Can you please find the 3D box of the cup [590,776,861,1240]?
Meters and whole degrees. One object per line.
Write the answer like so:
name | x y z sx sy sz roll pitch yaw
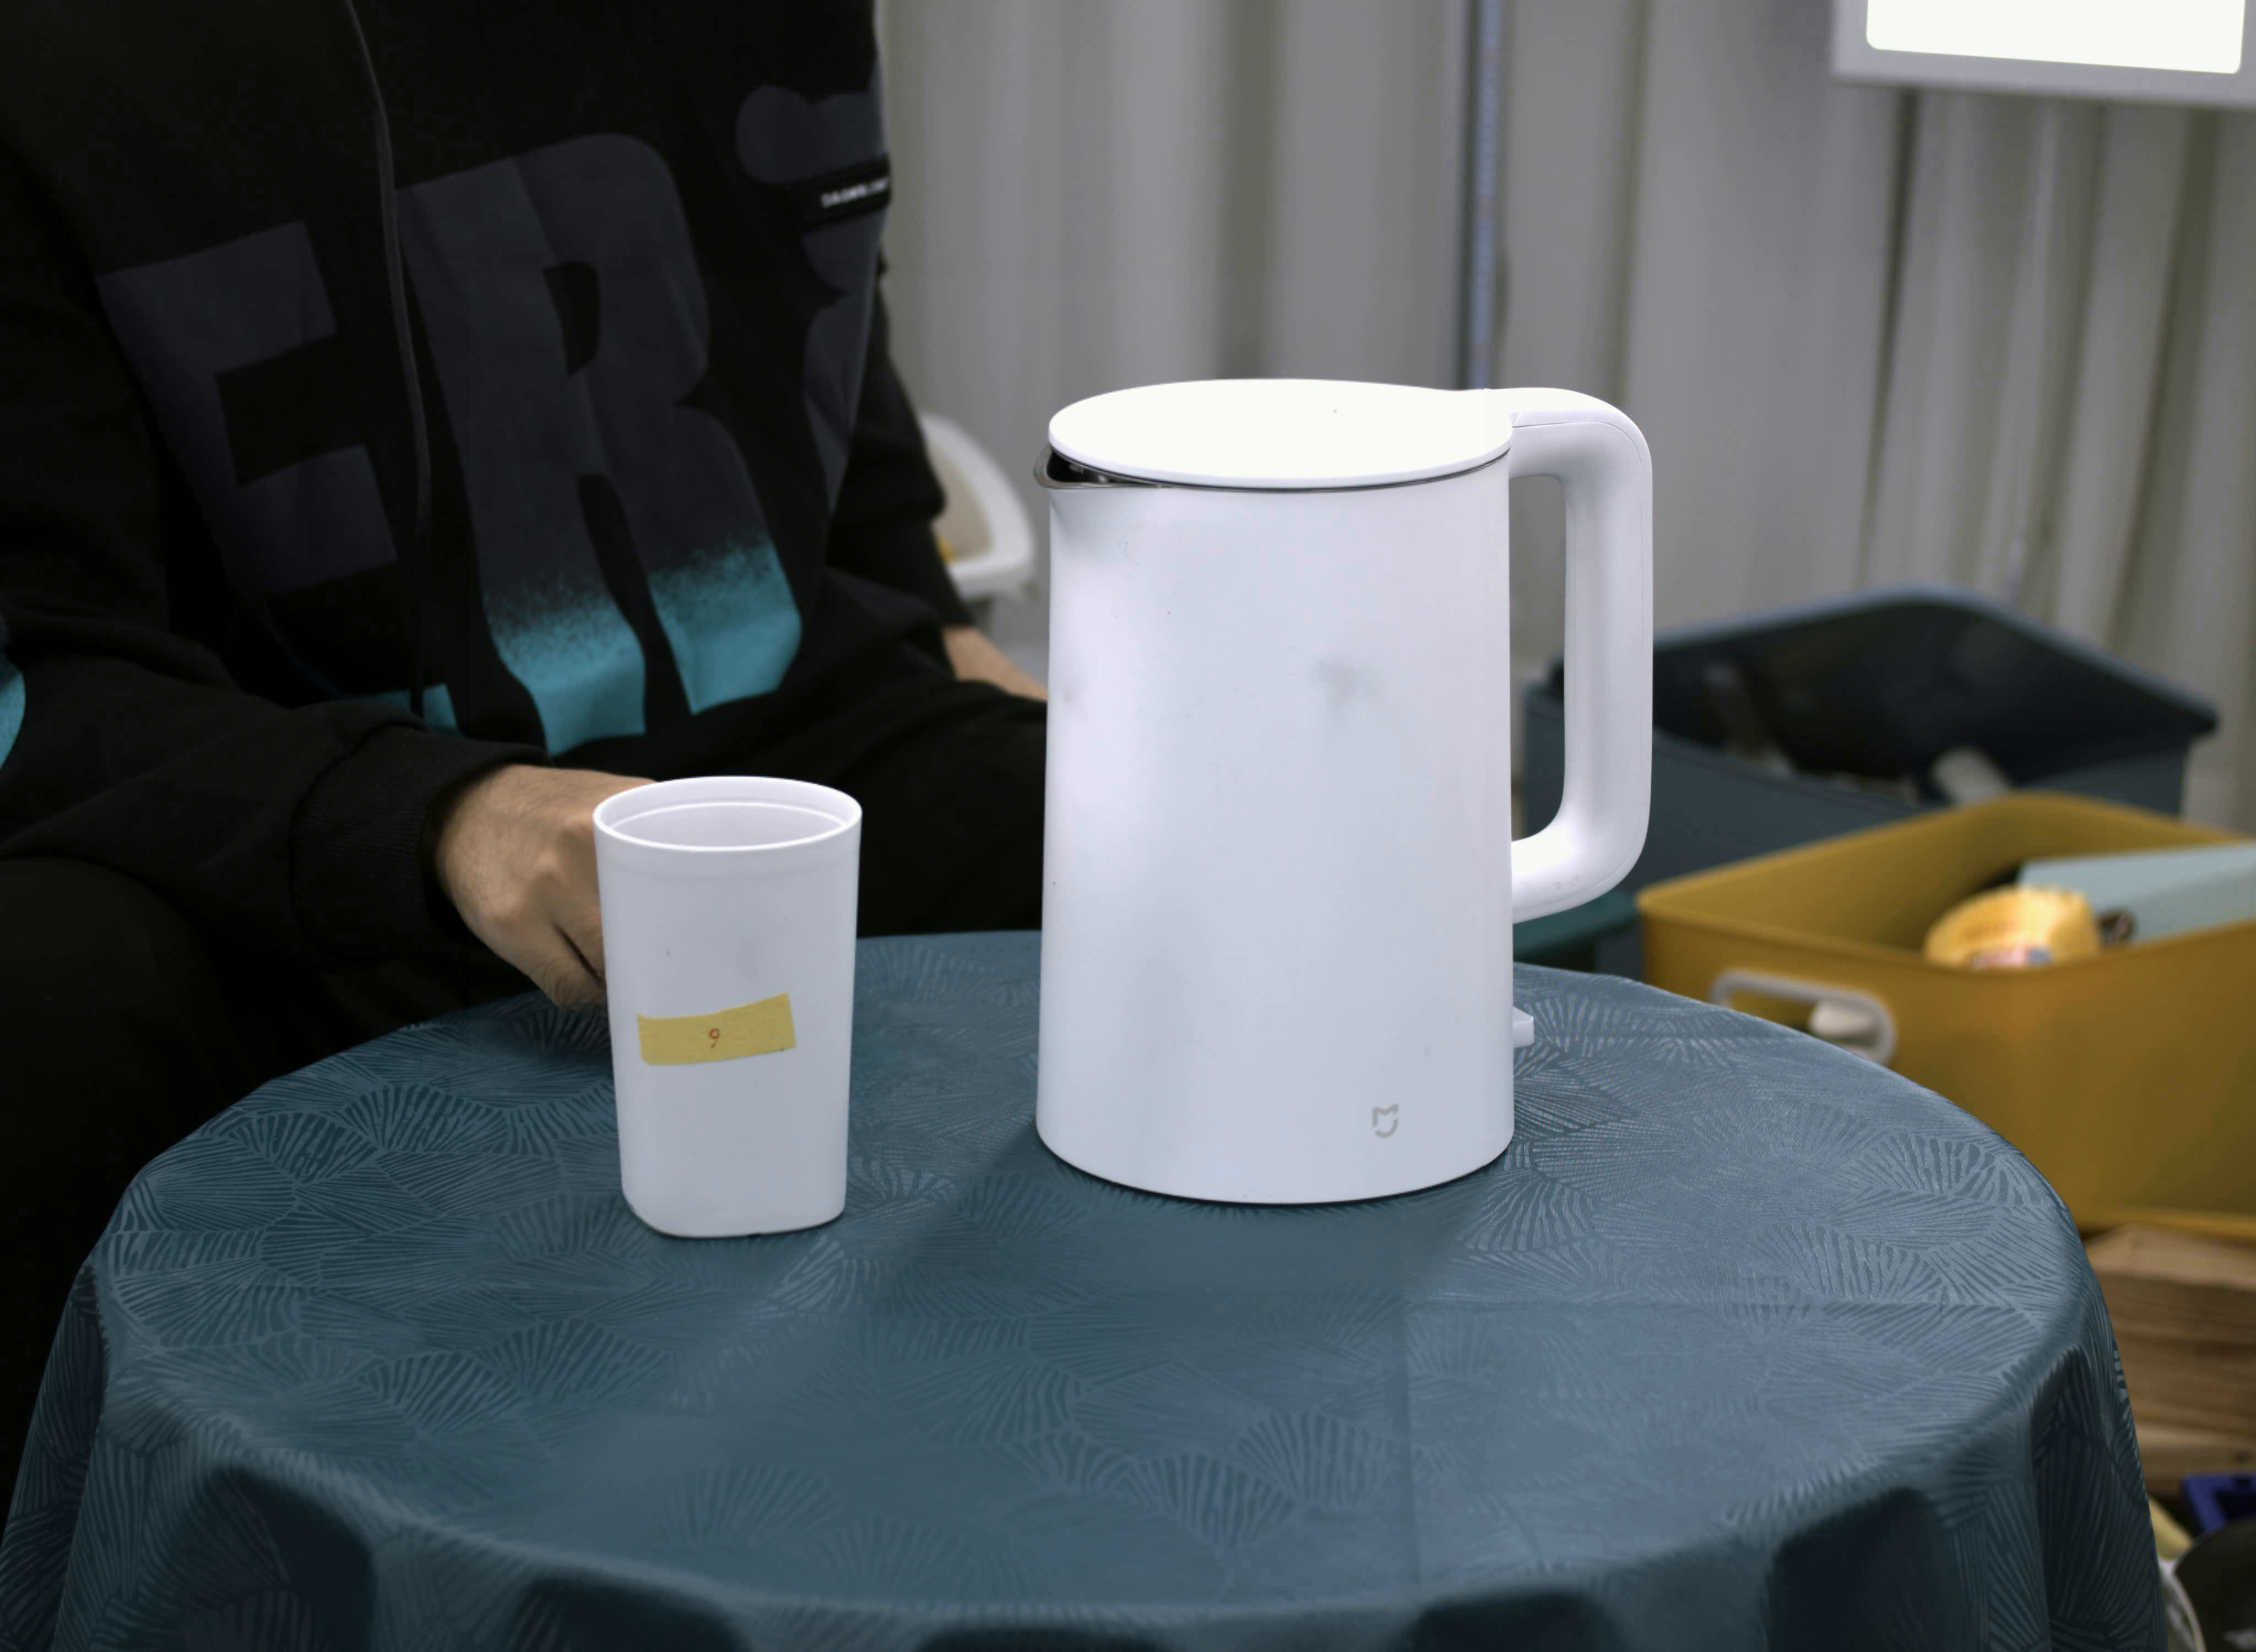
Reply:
cup | -0.120 0.055 1.588 0.081 0.126 0.081 1 15 0

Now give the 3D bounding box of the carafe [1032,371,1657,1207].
carafe | 0.070 -0.017 1.654 0.214 0.242 0.150 -9 20 -26
